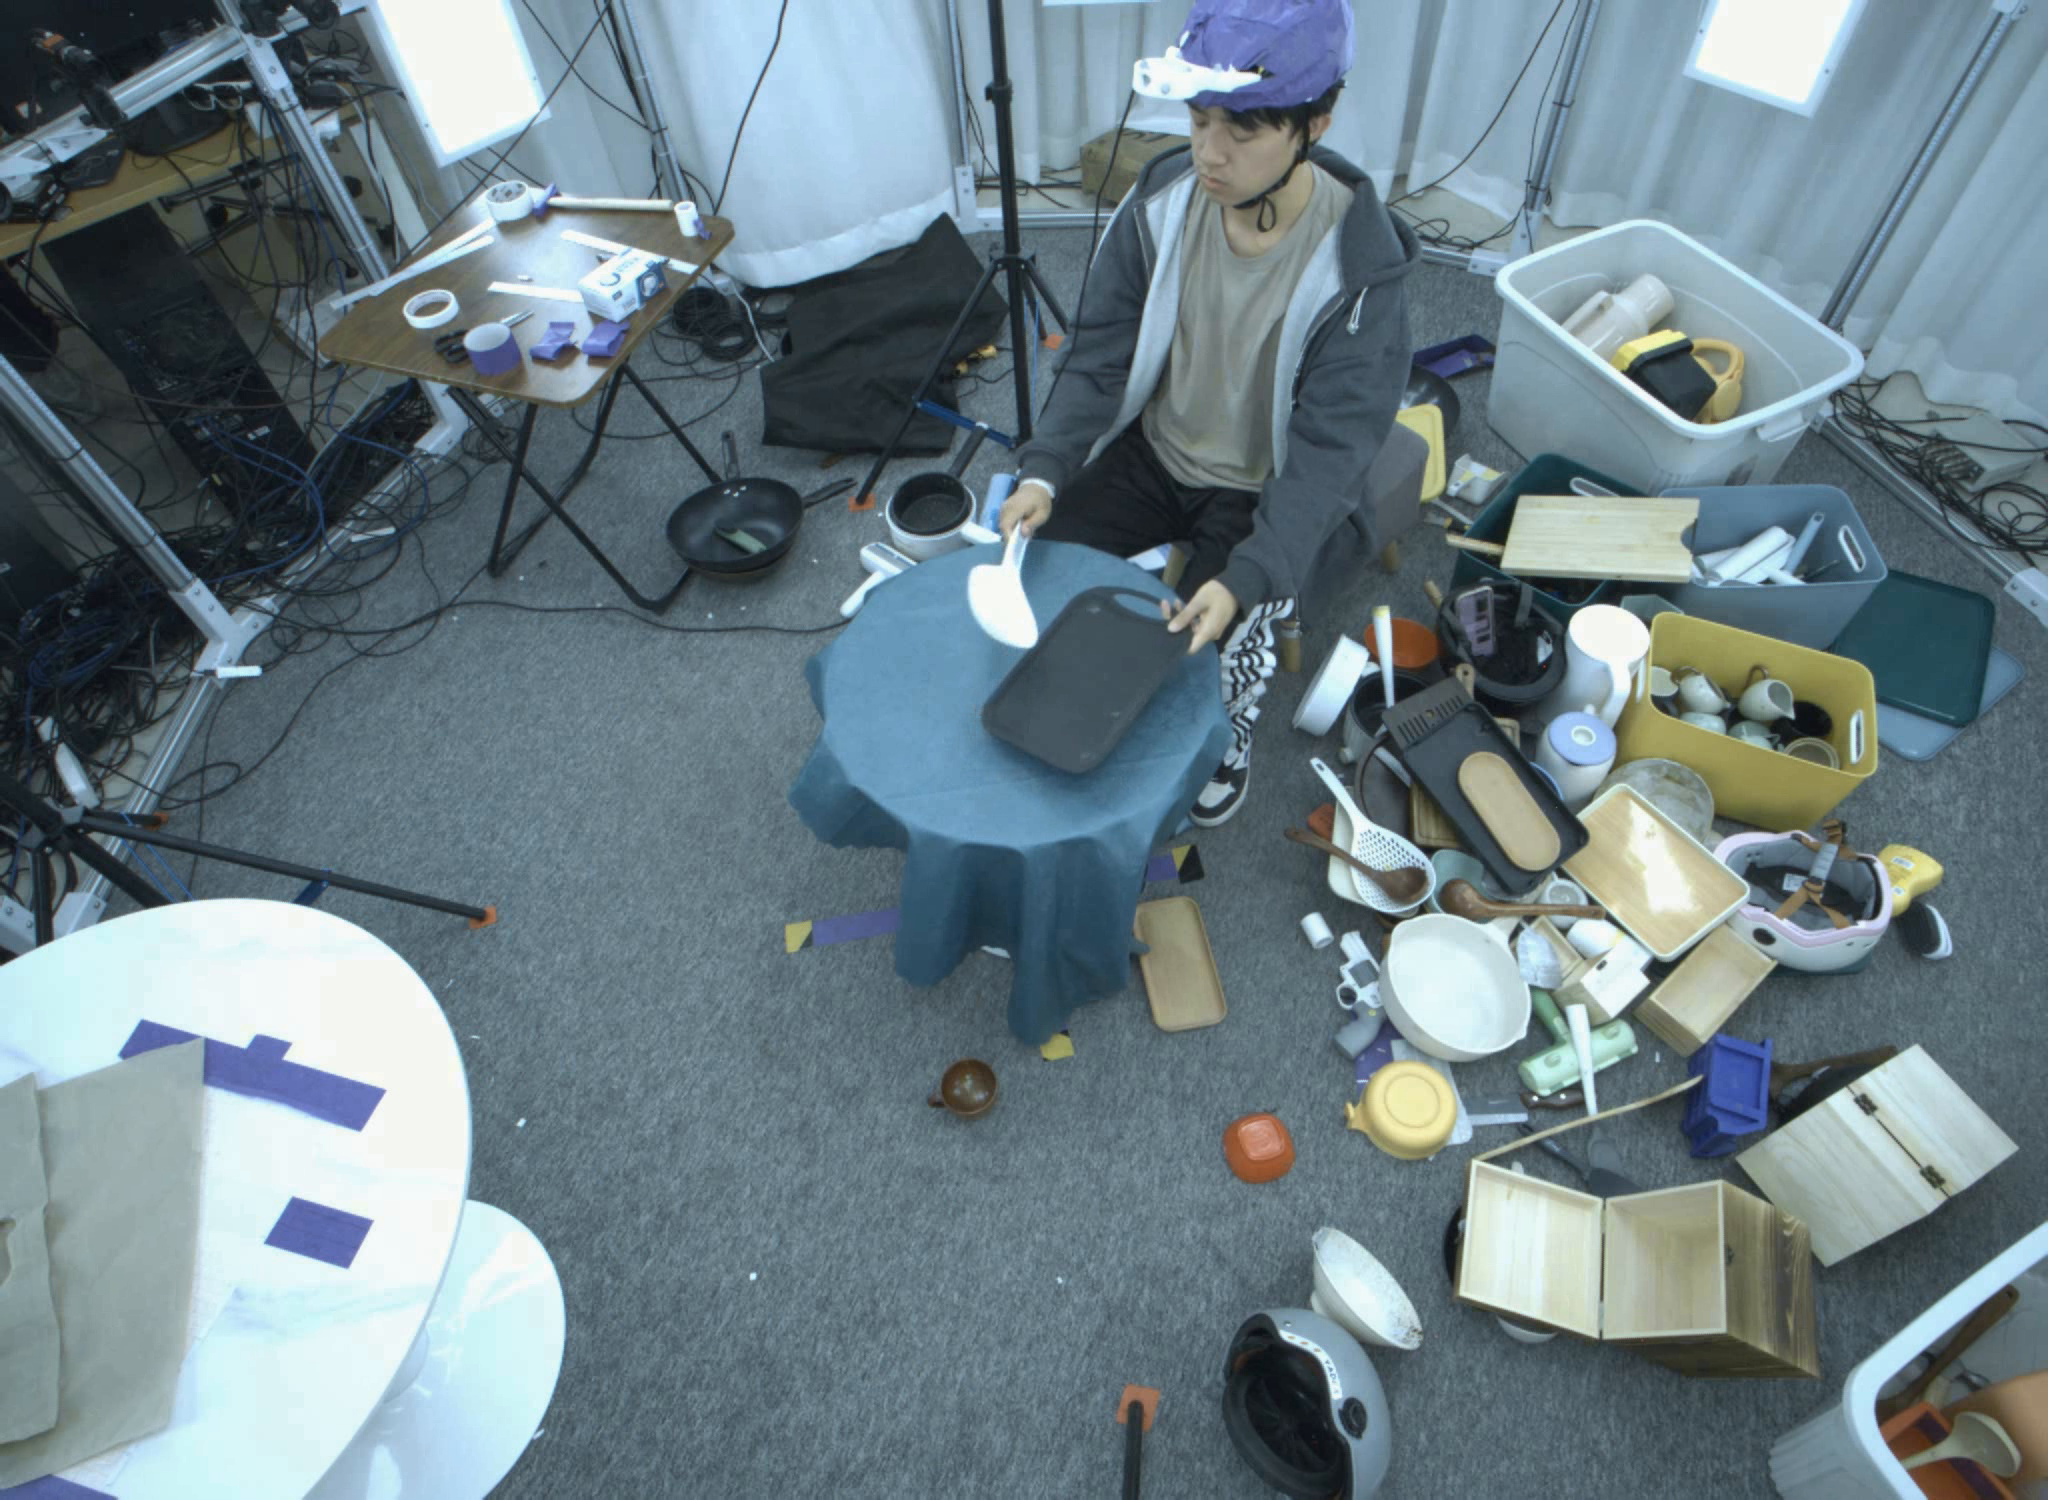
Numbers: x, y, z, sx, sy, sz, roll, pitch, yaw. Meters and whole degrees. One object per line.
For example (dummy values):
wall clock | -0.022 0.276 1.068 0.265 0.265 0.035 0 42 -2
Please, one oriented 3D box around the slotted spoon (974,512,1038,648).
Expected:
slotted spoon | -0.018 -0.266 1.818 0.045 0.138 0.347 -26 31 29

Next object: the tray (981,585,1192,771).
tray | 0.095 -0.118 1.785 0.207 0.010 0.326 27 65 26
